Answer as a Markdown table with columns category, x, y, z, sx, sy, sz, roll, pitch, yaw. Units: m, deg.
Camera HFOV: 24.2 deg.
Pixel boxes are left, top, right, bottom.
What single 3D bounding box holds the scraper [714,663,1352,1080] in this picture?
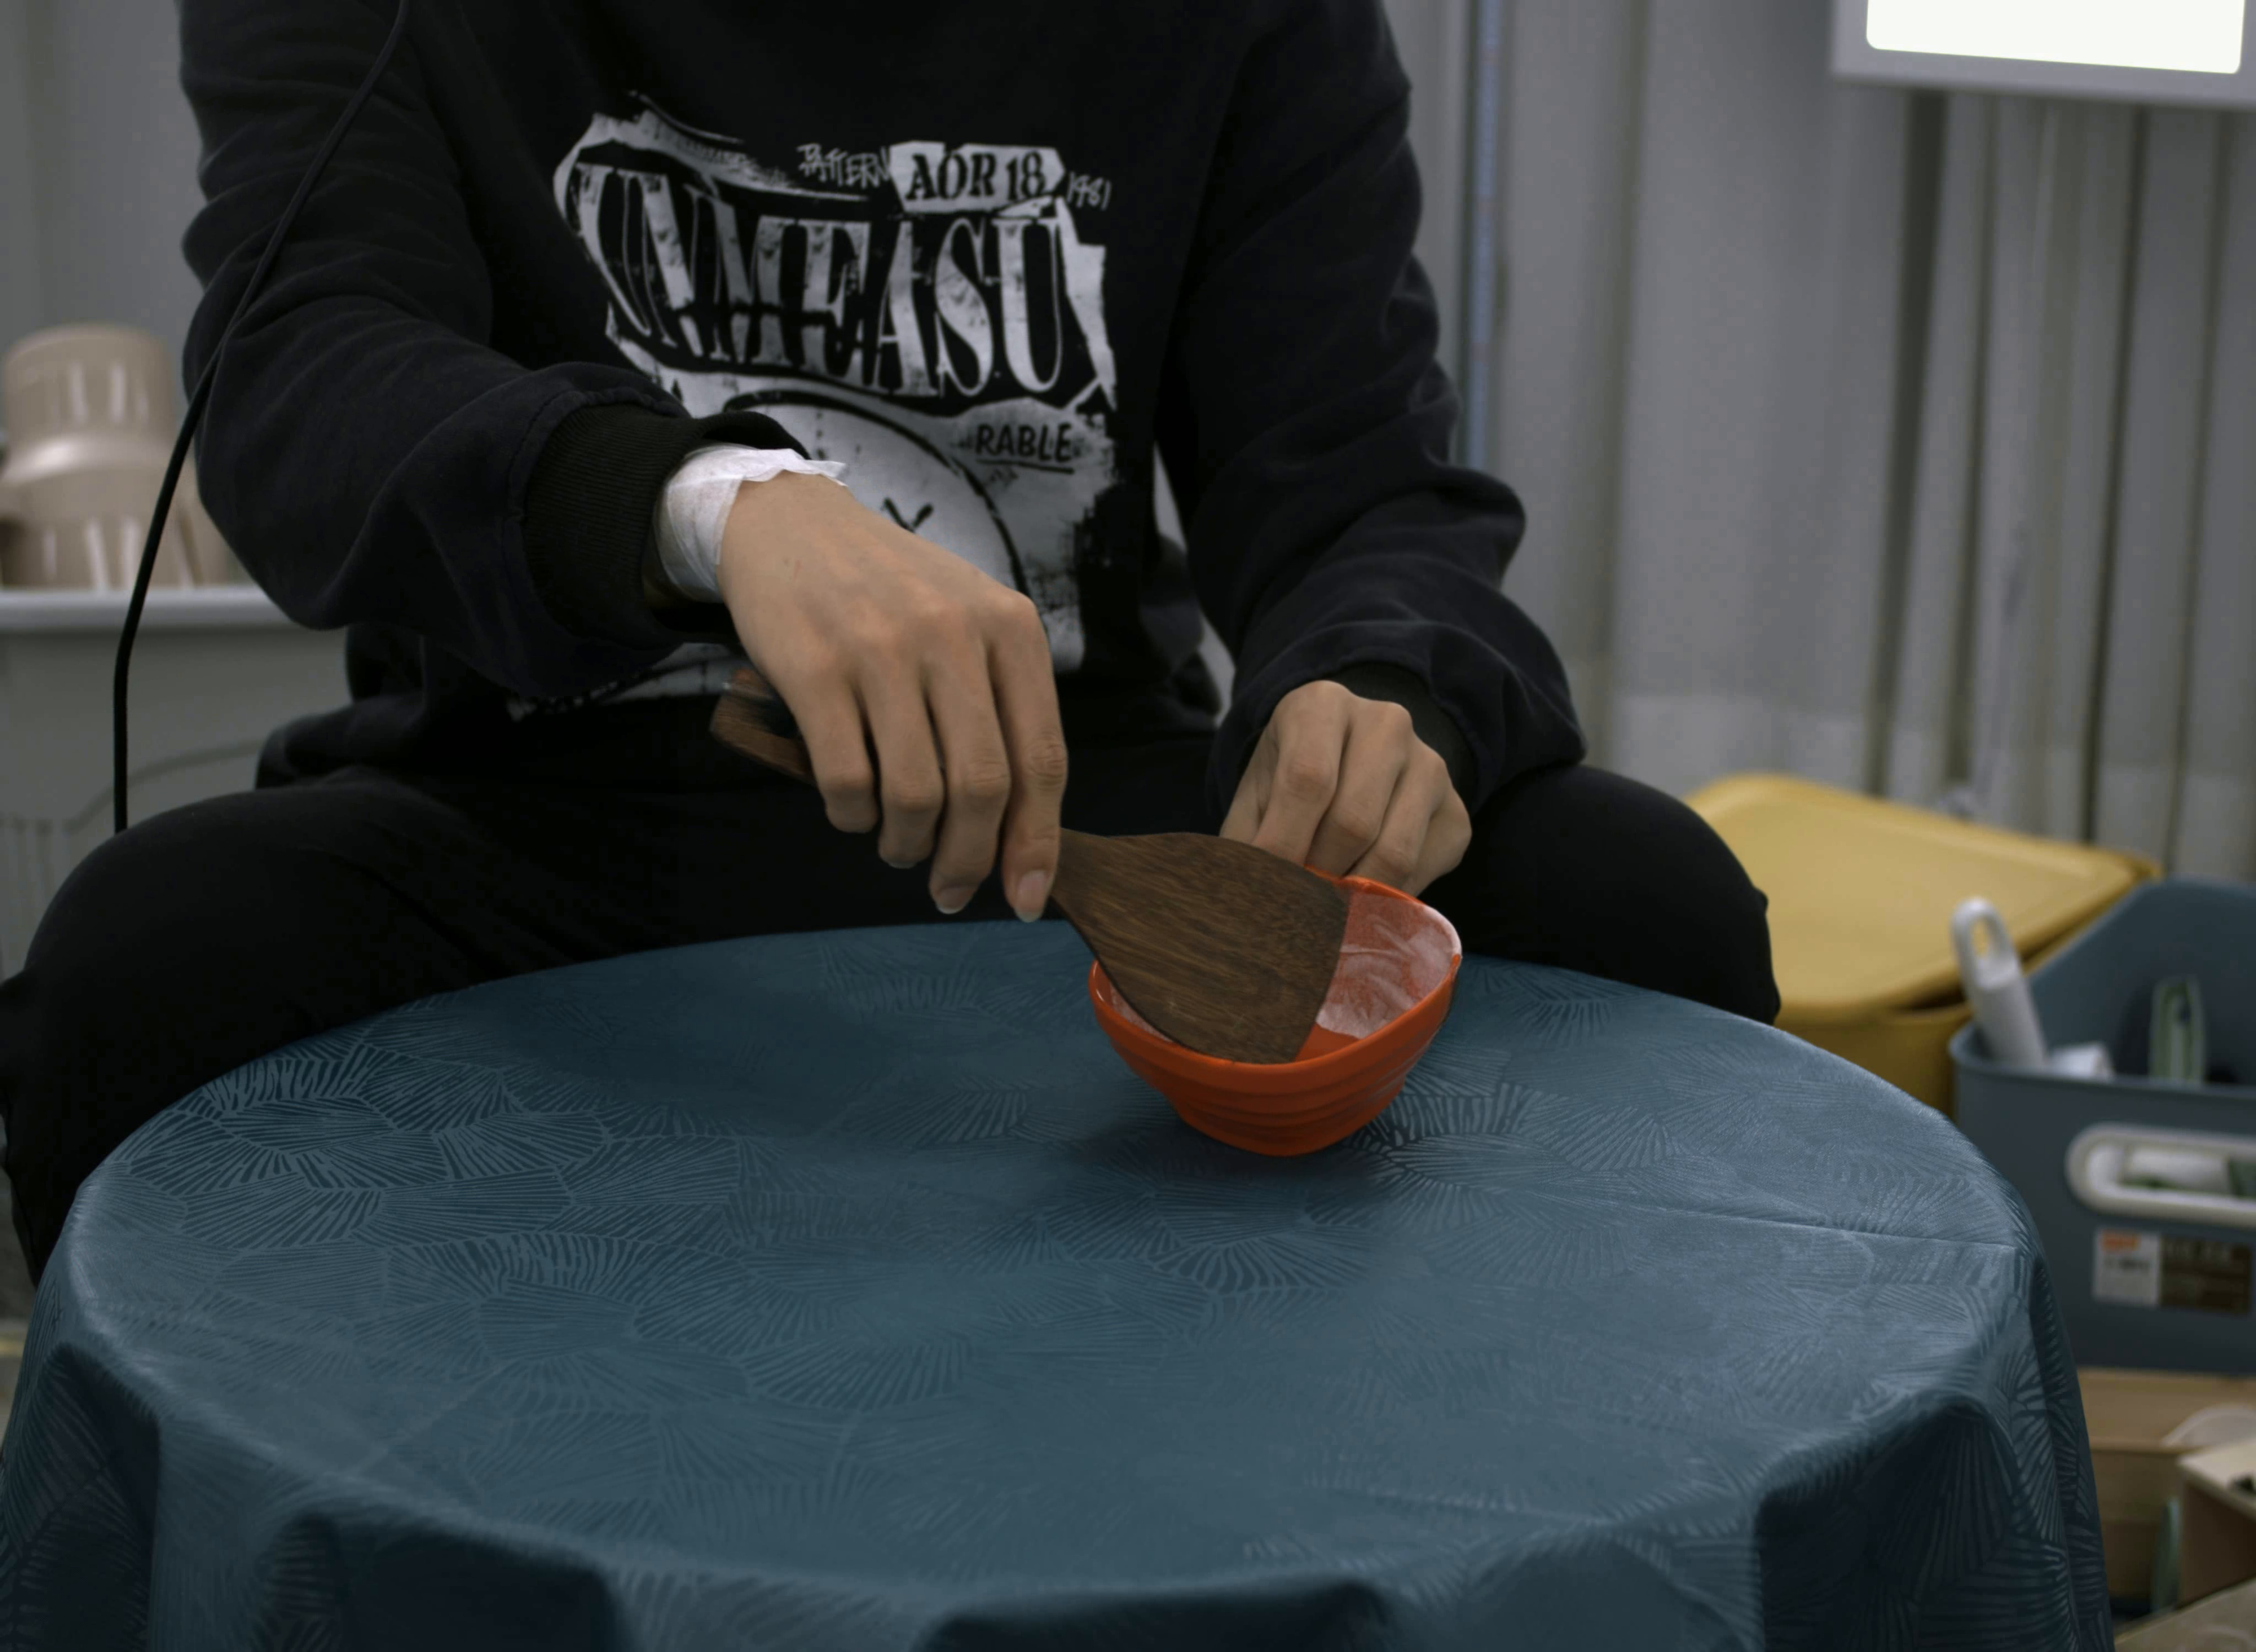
| category | x | y | z | sx | sy | sz | roll | pitch | yaw |
| --- | --- | --- | --- | --- | --- | --- | --- | --- | --- |
| scraper | -0.031 | 0.006 | 1.626 | 0.212 | 0.075 | 0.011 | 27 | -26 | -10 |

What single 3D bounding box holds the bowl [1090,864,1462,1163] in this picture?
| category | x | y | z | sx | sy | sz | roll | pitch | yaw |
| --- | --- | --- | --- | --- | --- | --- | --- | --- | --- |
| bowl | 0.049 | 0.064 | 1.676 | 0.118 | 0.052 | 0.118 | -5 | 33 | 4 |
